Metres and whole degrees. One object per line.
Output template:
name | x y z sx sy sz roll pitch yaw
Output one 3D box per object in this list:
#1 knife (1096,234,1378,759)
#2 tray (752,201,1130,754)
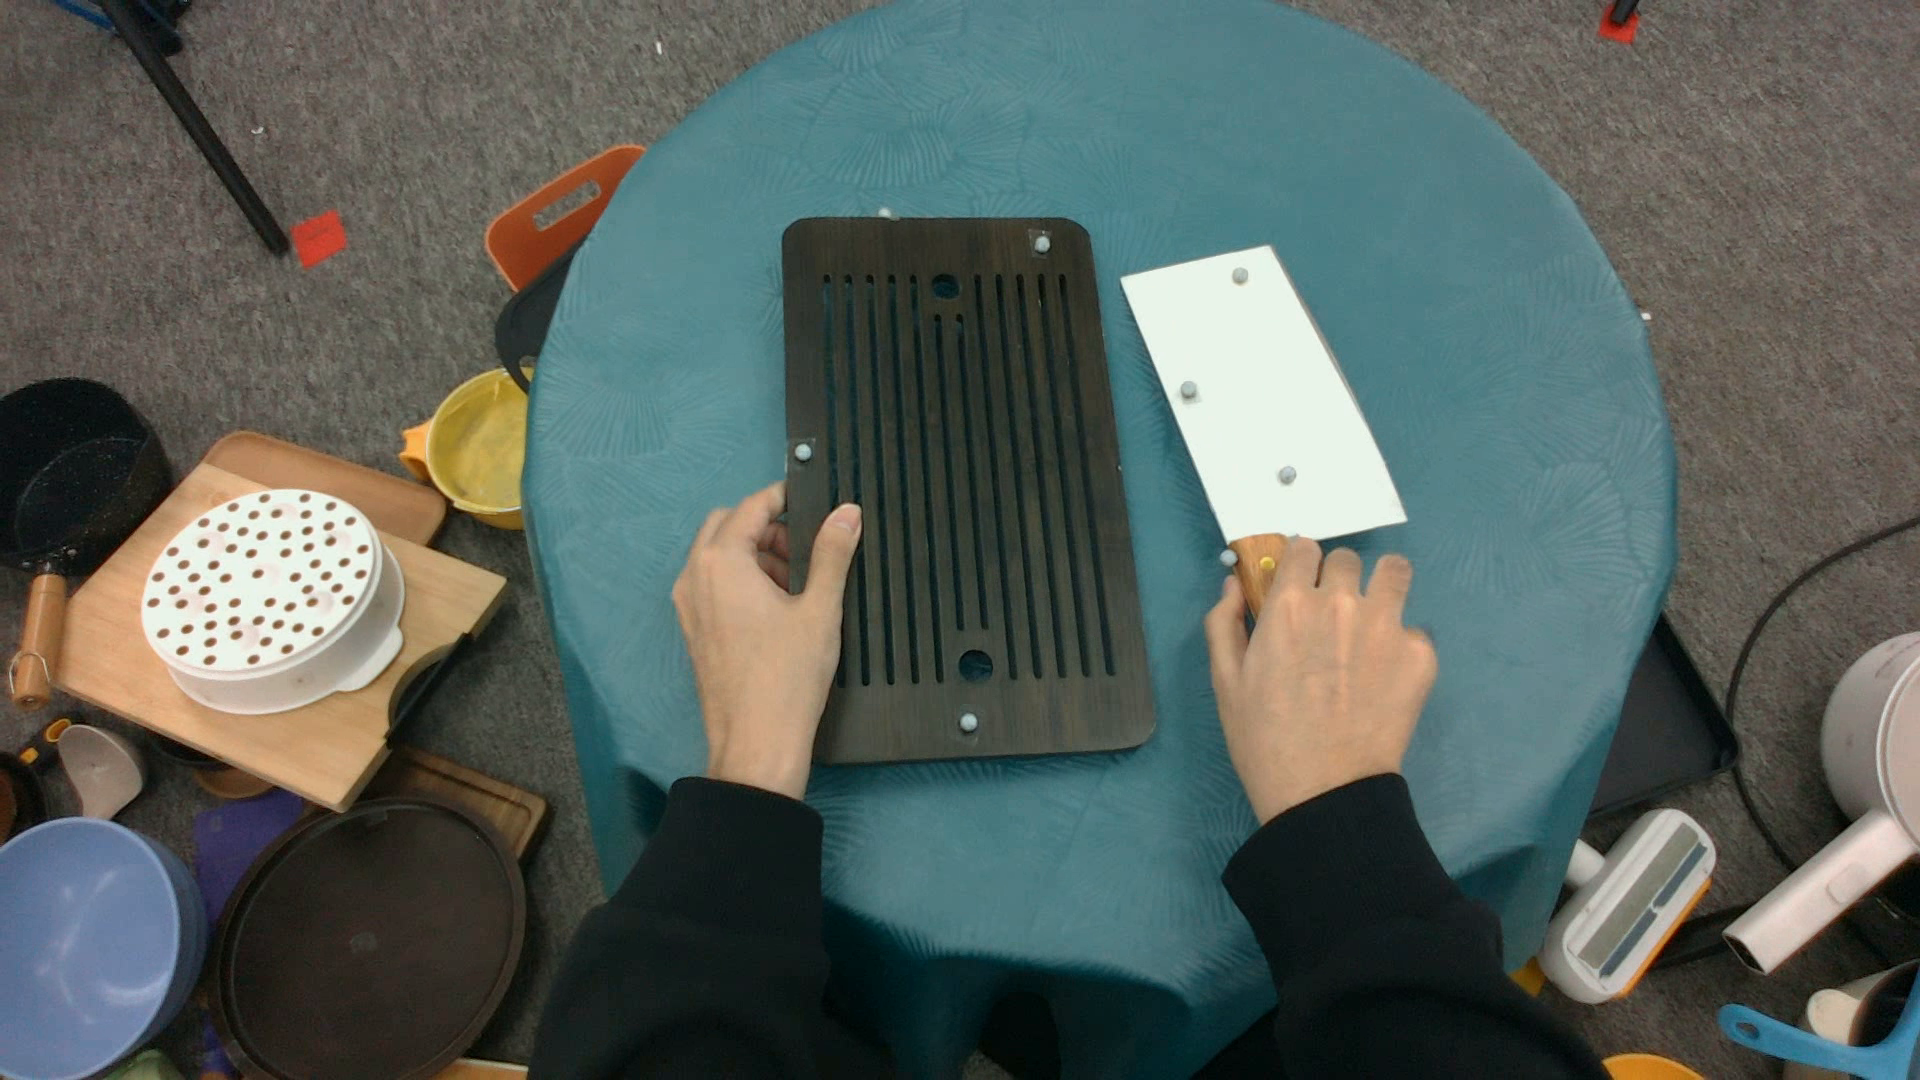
knife | 0.154 -0.039 0.690 0.093 0.021 0.307 -12 60 -7
tray | -0.016 -0.043 0.694 0.170 0.018 0.307 -2 65 -7
